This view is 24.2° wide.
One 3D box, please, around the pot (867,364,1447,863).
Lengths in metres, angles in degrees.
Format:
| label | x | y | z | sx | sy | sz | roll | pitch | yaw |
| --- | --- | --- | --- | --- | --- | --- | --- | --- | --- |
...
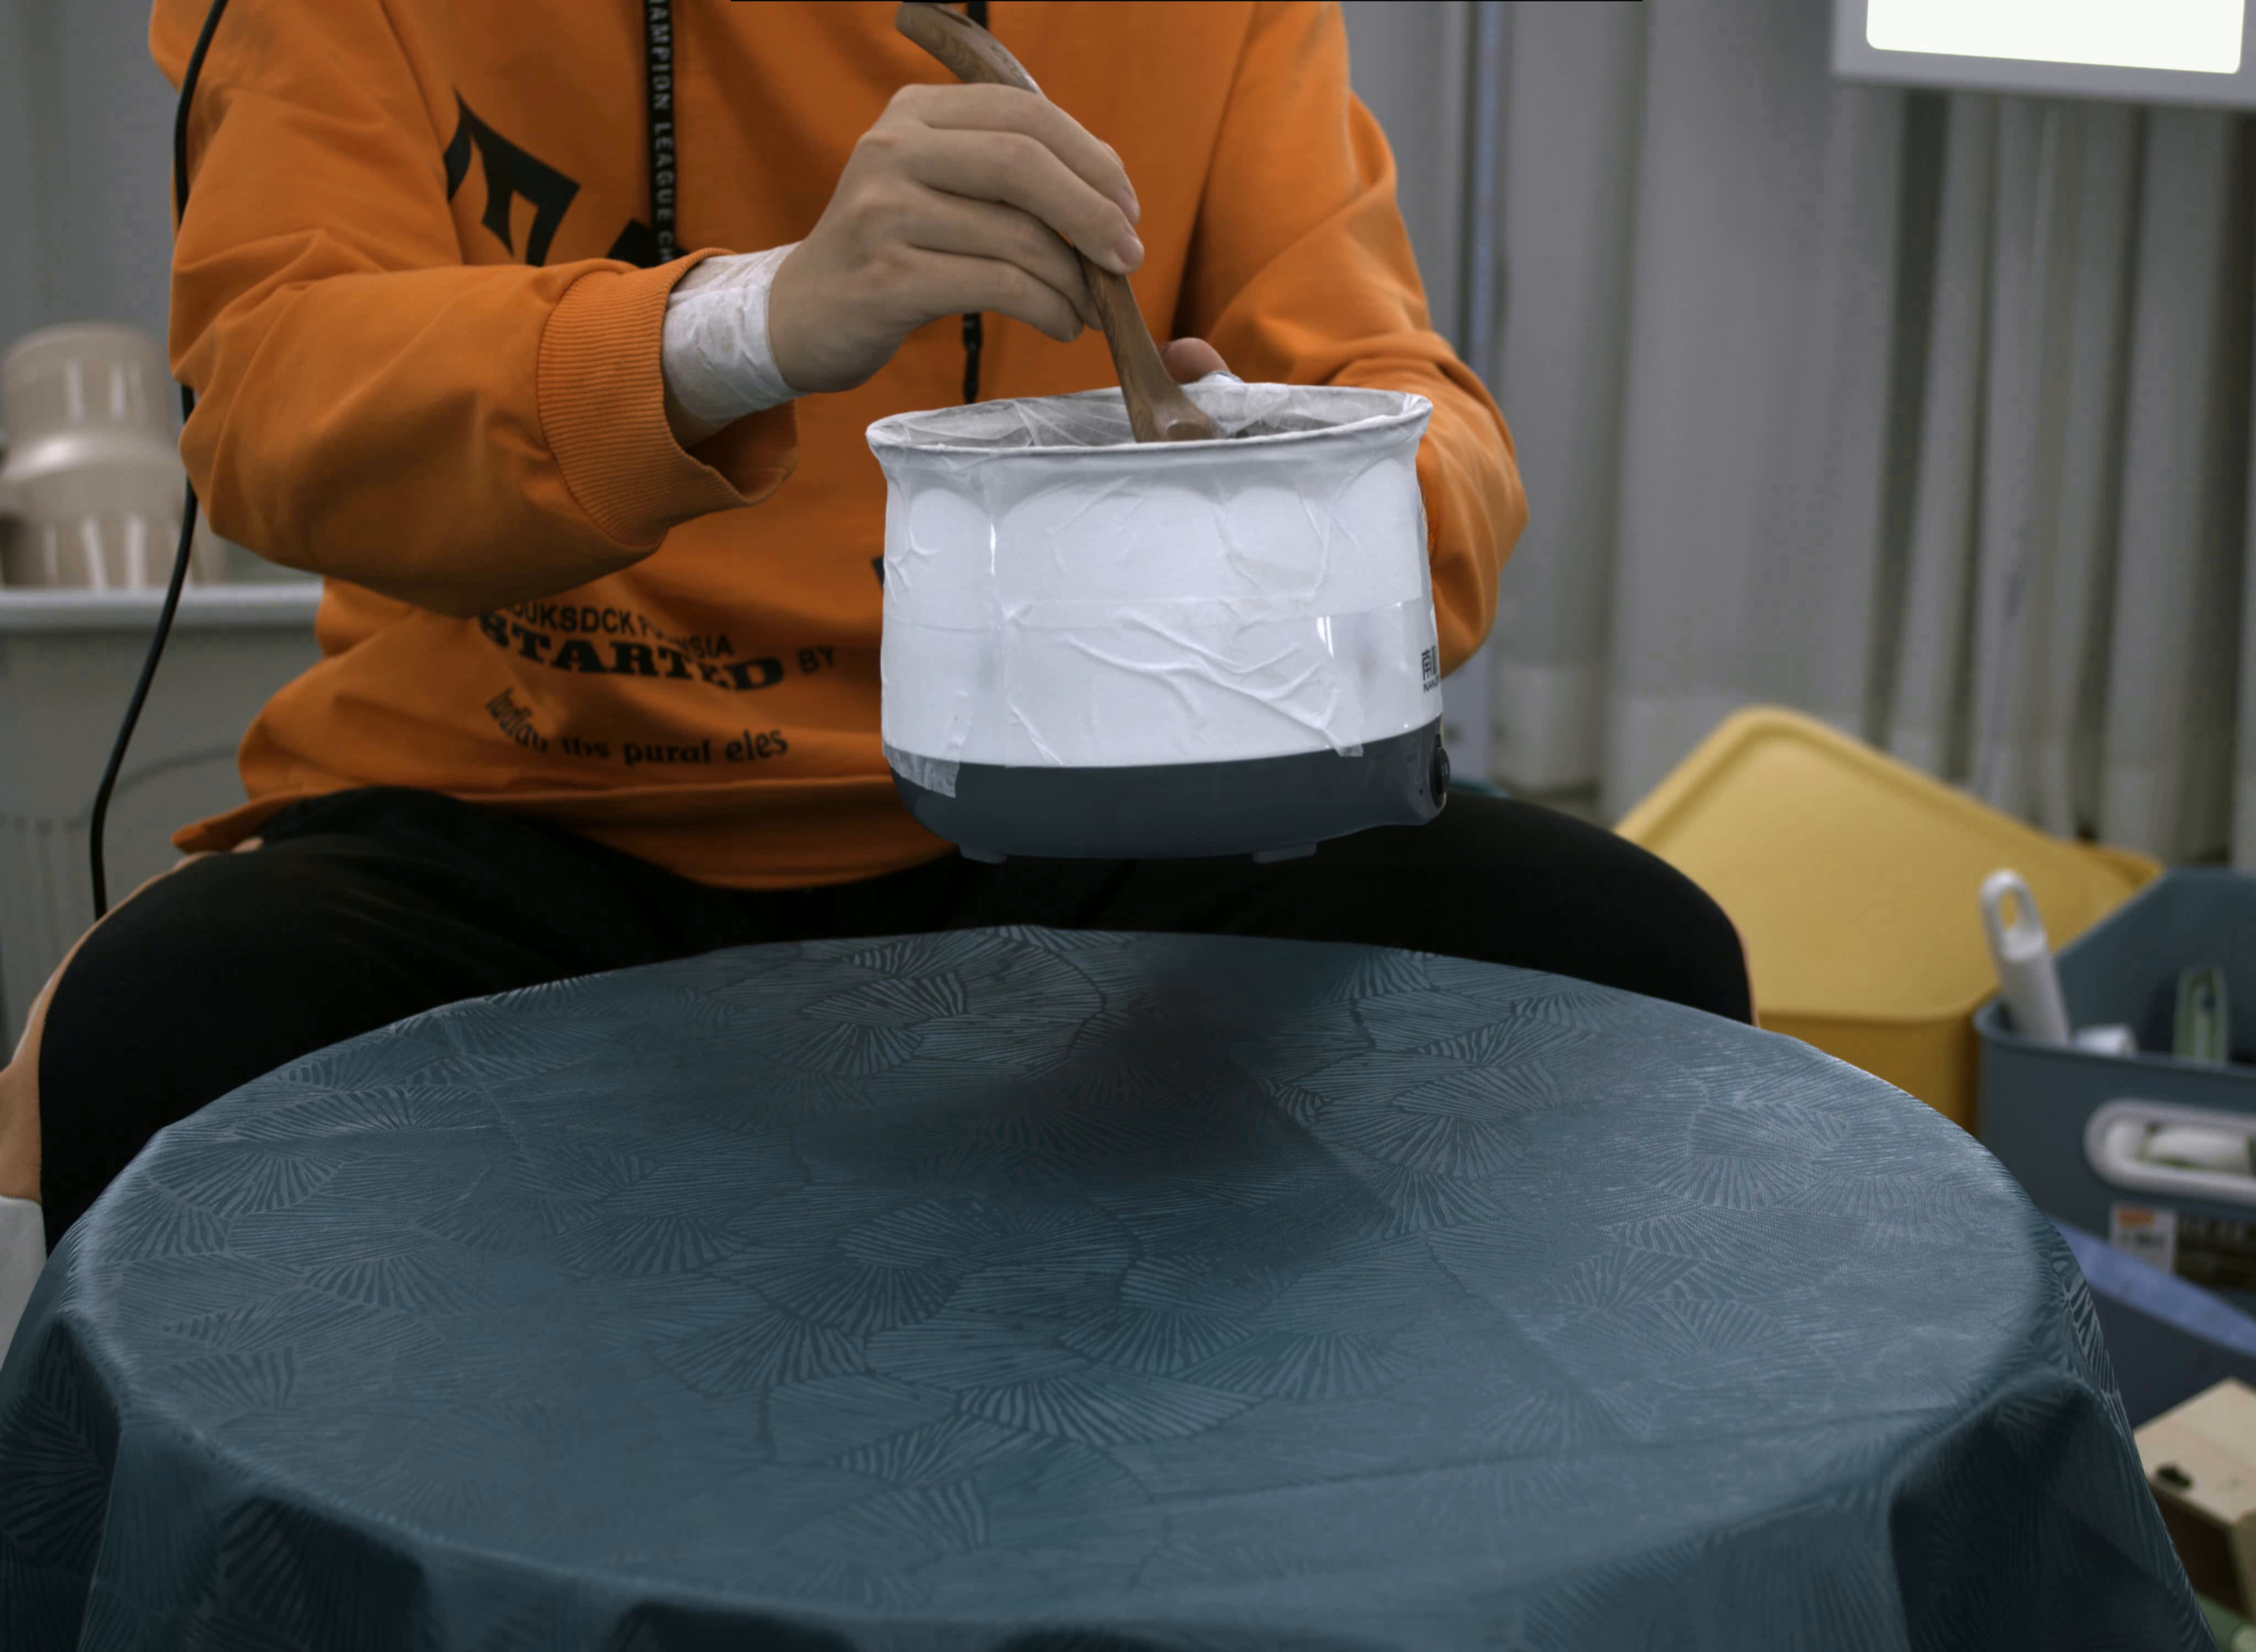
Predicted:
| label | x | y | z | sx | sy | sz | roll | pitch | yaw |
| --- | --- | --- | --- | --- | --- | --- | --- | --- | --- |
| pot | 0.016 | -0.071 | 1.672 | 0.177 | 0.137 | 0.233 | 0 | 11 | 12 |

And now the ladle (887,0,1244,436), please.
| label | x | y | z | sx | sy | sz | roll | pitch | yaw |
| --- | --- | --- | --- | --- | --- | --- | --- | --- | --- |
| ladle | -0.001 | -0.189 | 1.693 | 0.077 | 0.065 | 0.258 | 8 | 47 | -54 |
